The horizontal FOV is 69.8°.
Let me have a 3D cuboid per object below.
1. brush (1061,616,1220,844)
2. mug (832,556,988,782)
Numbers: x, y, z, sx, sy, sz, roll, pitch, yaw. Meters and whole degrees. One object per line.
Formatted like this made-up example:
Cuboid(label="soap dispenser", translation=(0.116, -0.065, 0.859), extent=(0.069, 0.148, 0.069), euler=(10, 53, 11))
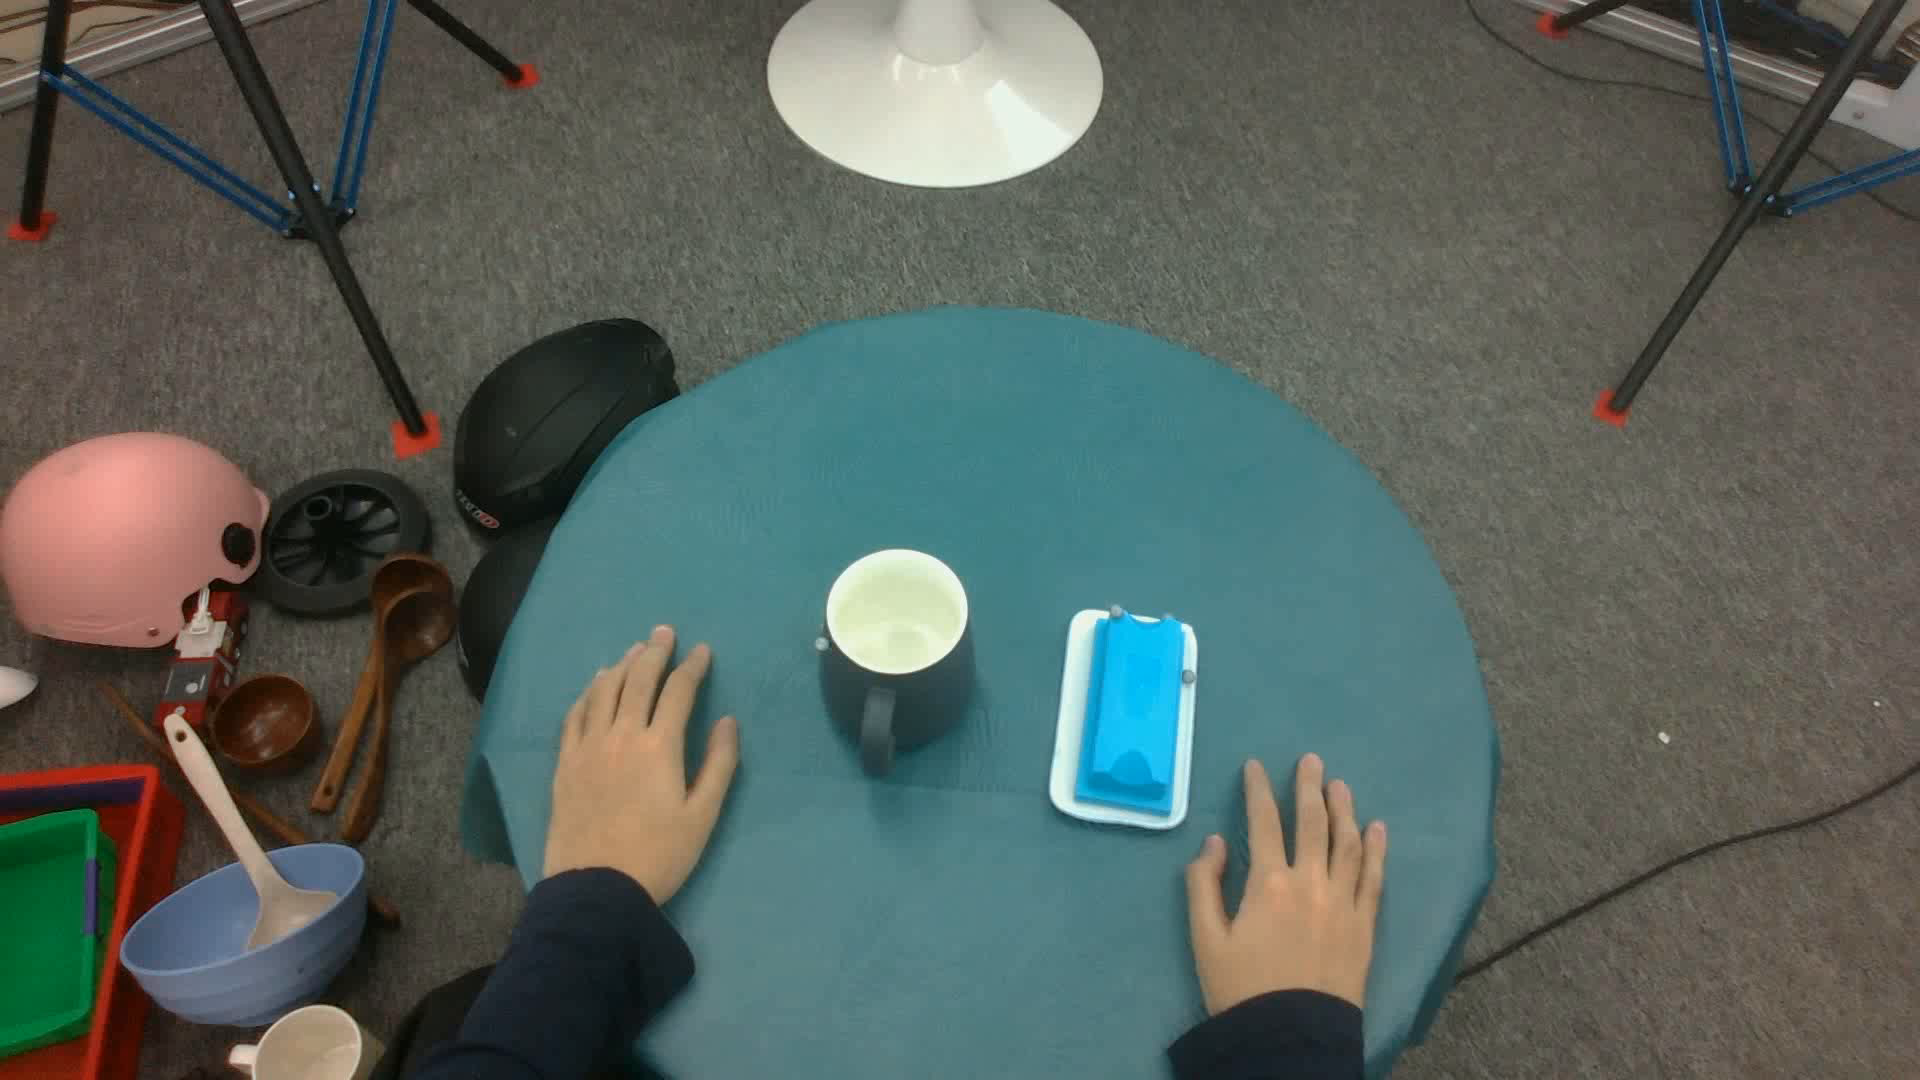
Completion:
Cuboid(label="brush", translation=(0.109, 0.103, 0.808), extent=(0.084, 0.055, 0.144), euler=(9, 53, 7))
Cuboid(label="mug", translation=(-0.033, 0.080, 0.798), extent=(0.093, 0.089, 0.124), euler=(8, 53, 6))
